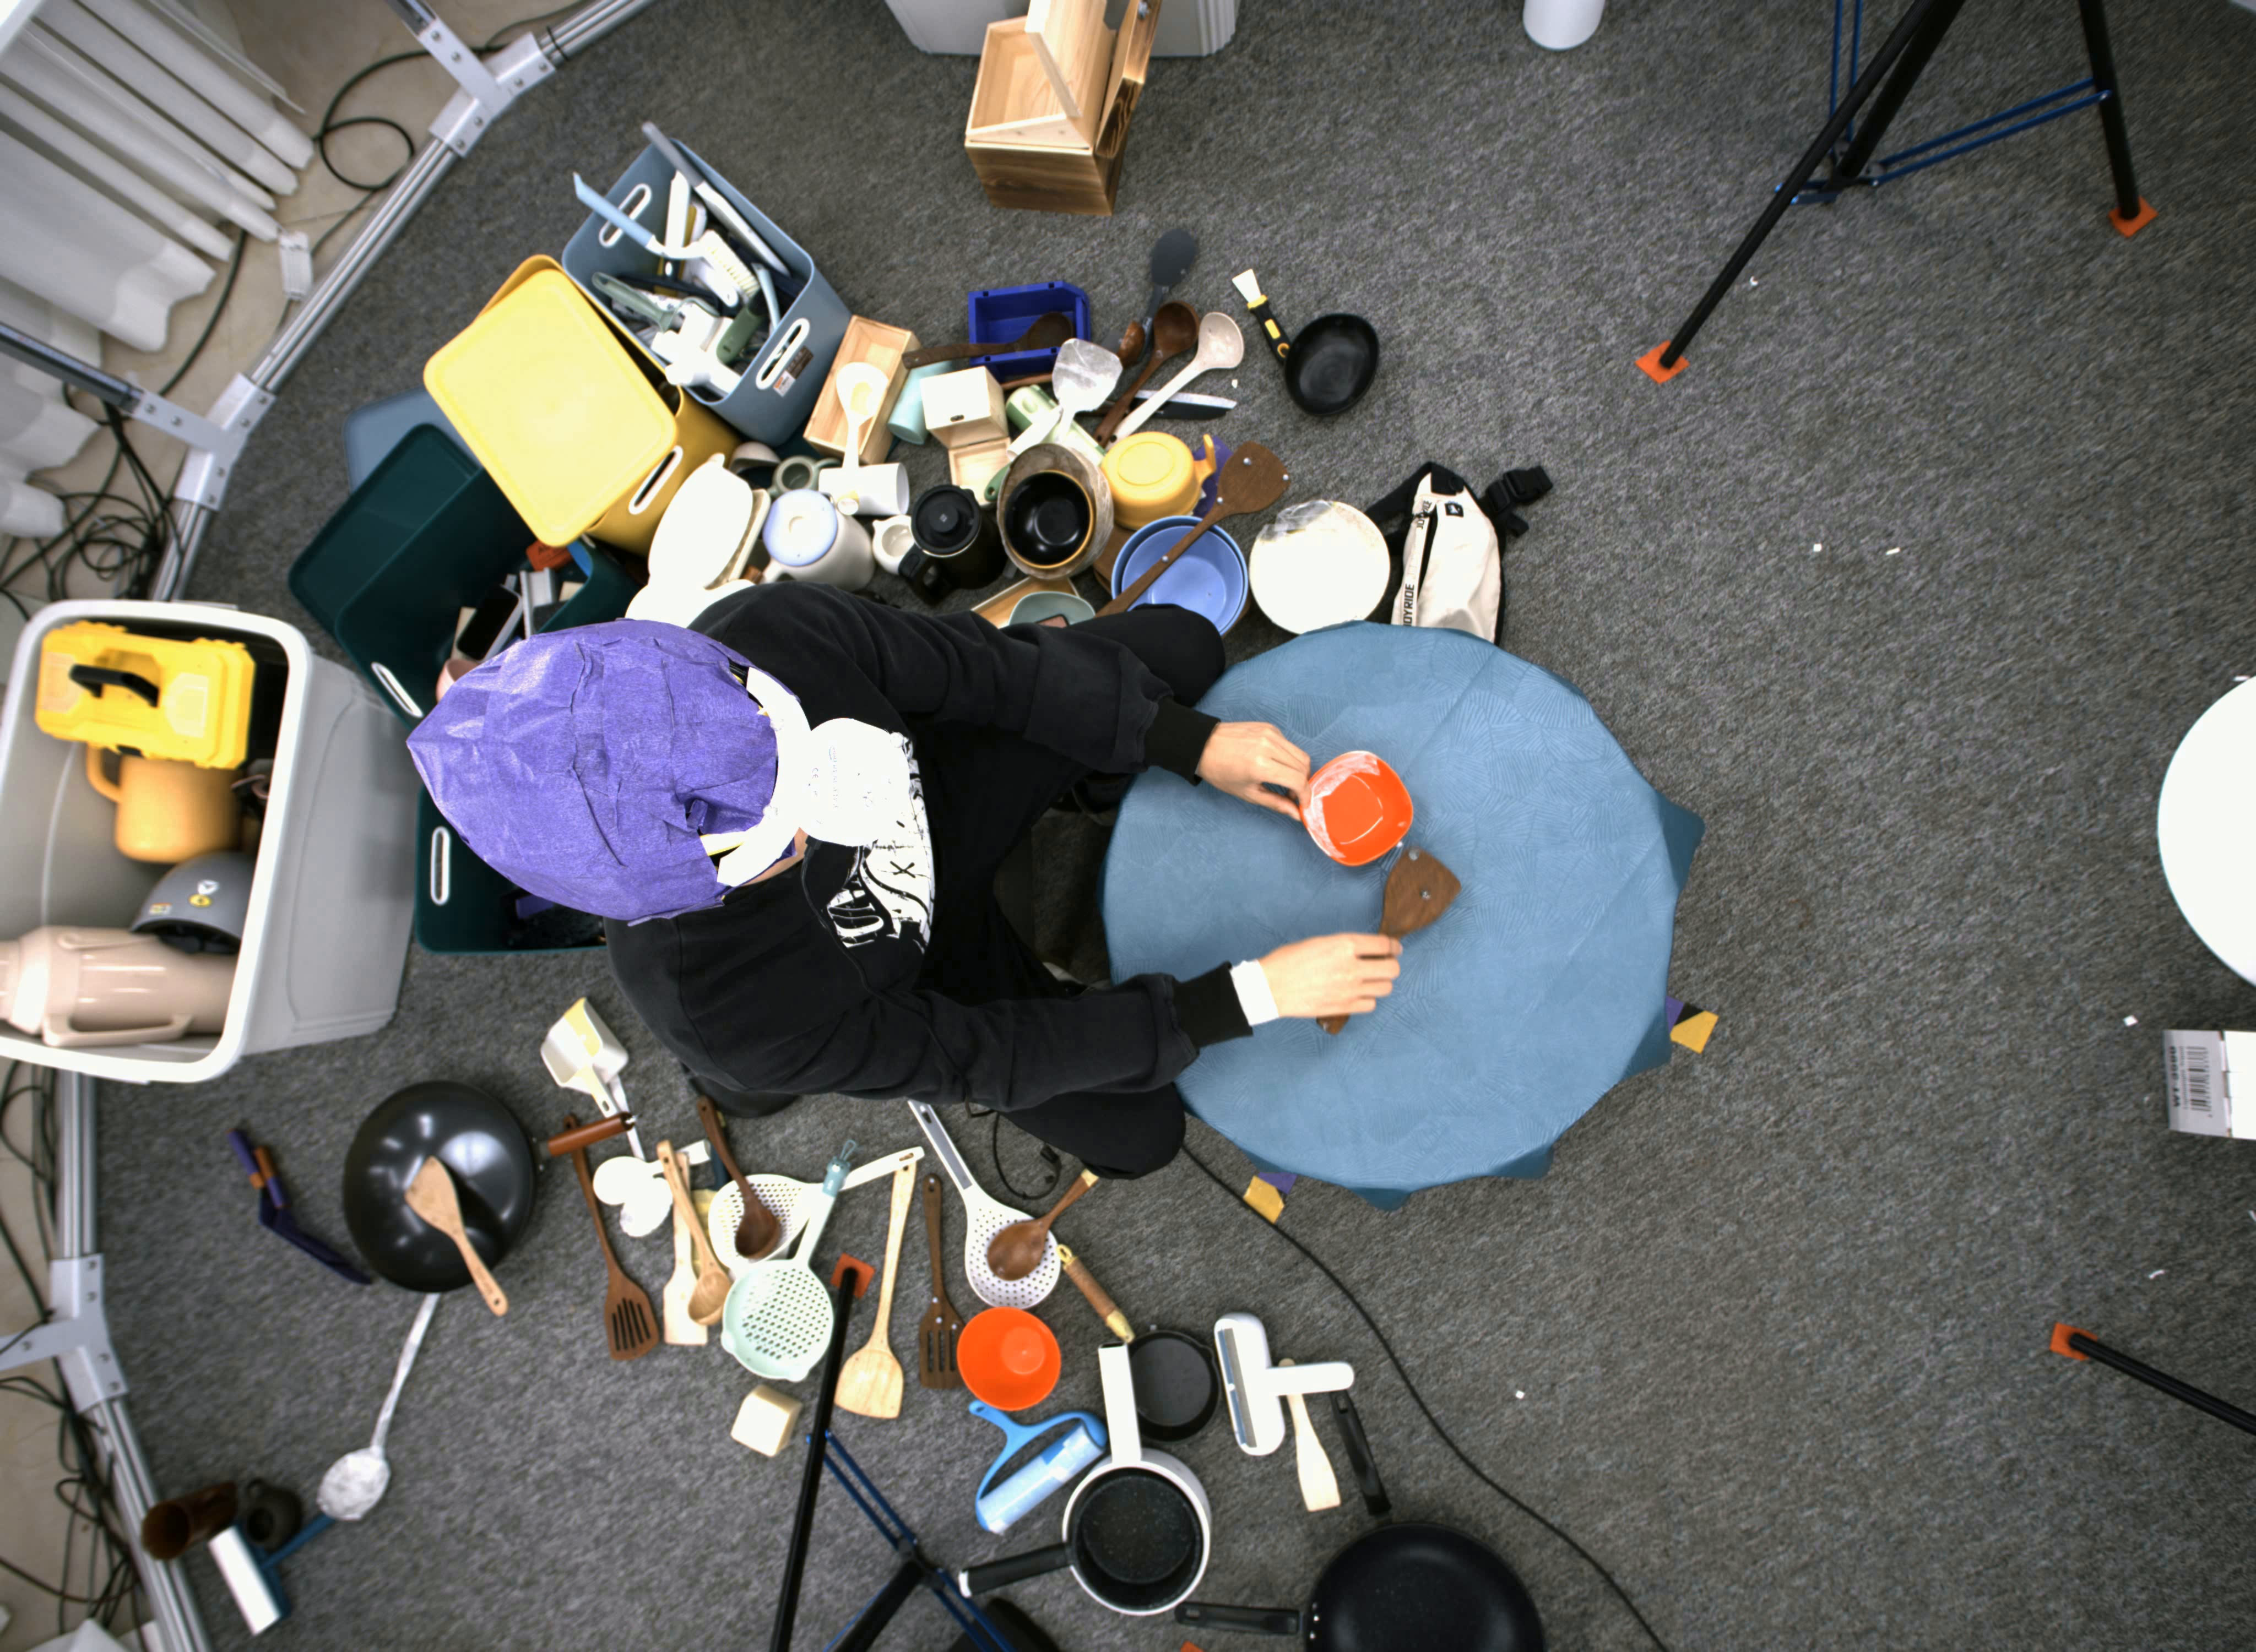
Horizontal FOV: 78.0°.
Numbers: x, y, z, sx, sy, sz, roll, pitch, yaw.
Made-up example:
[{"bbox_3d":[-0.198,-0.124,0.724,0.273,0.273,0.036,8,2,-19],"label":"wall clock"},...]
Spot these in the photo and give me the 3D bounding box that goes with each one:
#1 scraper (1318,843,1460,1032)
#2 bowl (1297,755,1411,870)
[{"bbox_3d":[0.254,0.114,1.382,0.076,0.011,0.209,38,79,-12],"label":"scraper"},{"bbox_3d":[0.232,-0.014,1.446,0.119,0.051,0.119,0,91,-4],"label":"bowl"}]
